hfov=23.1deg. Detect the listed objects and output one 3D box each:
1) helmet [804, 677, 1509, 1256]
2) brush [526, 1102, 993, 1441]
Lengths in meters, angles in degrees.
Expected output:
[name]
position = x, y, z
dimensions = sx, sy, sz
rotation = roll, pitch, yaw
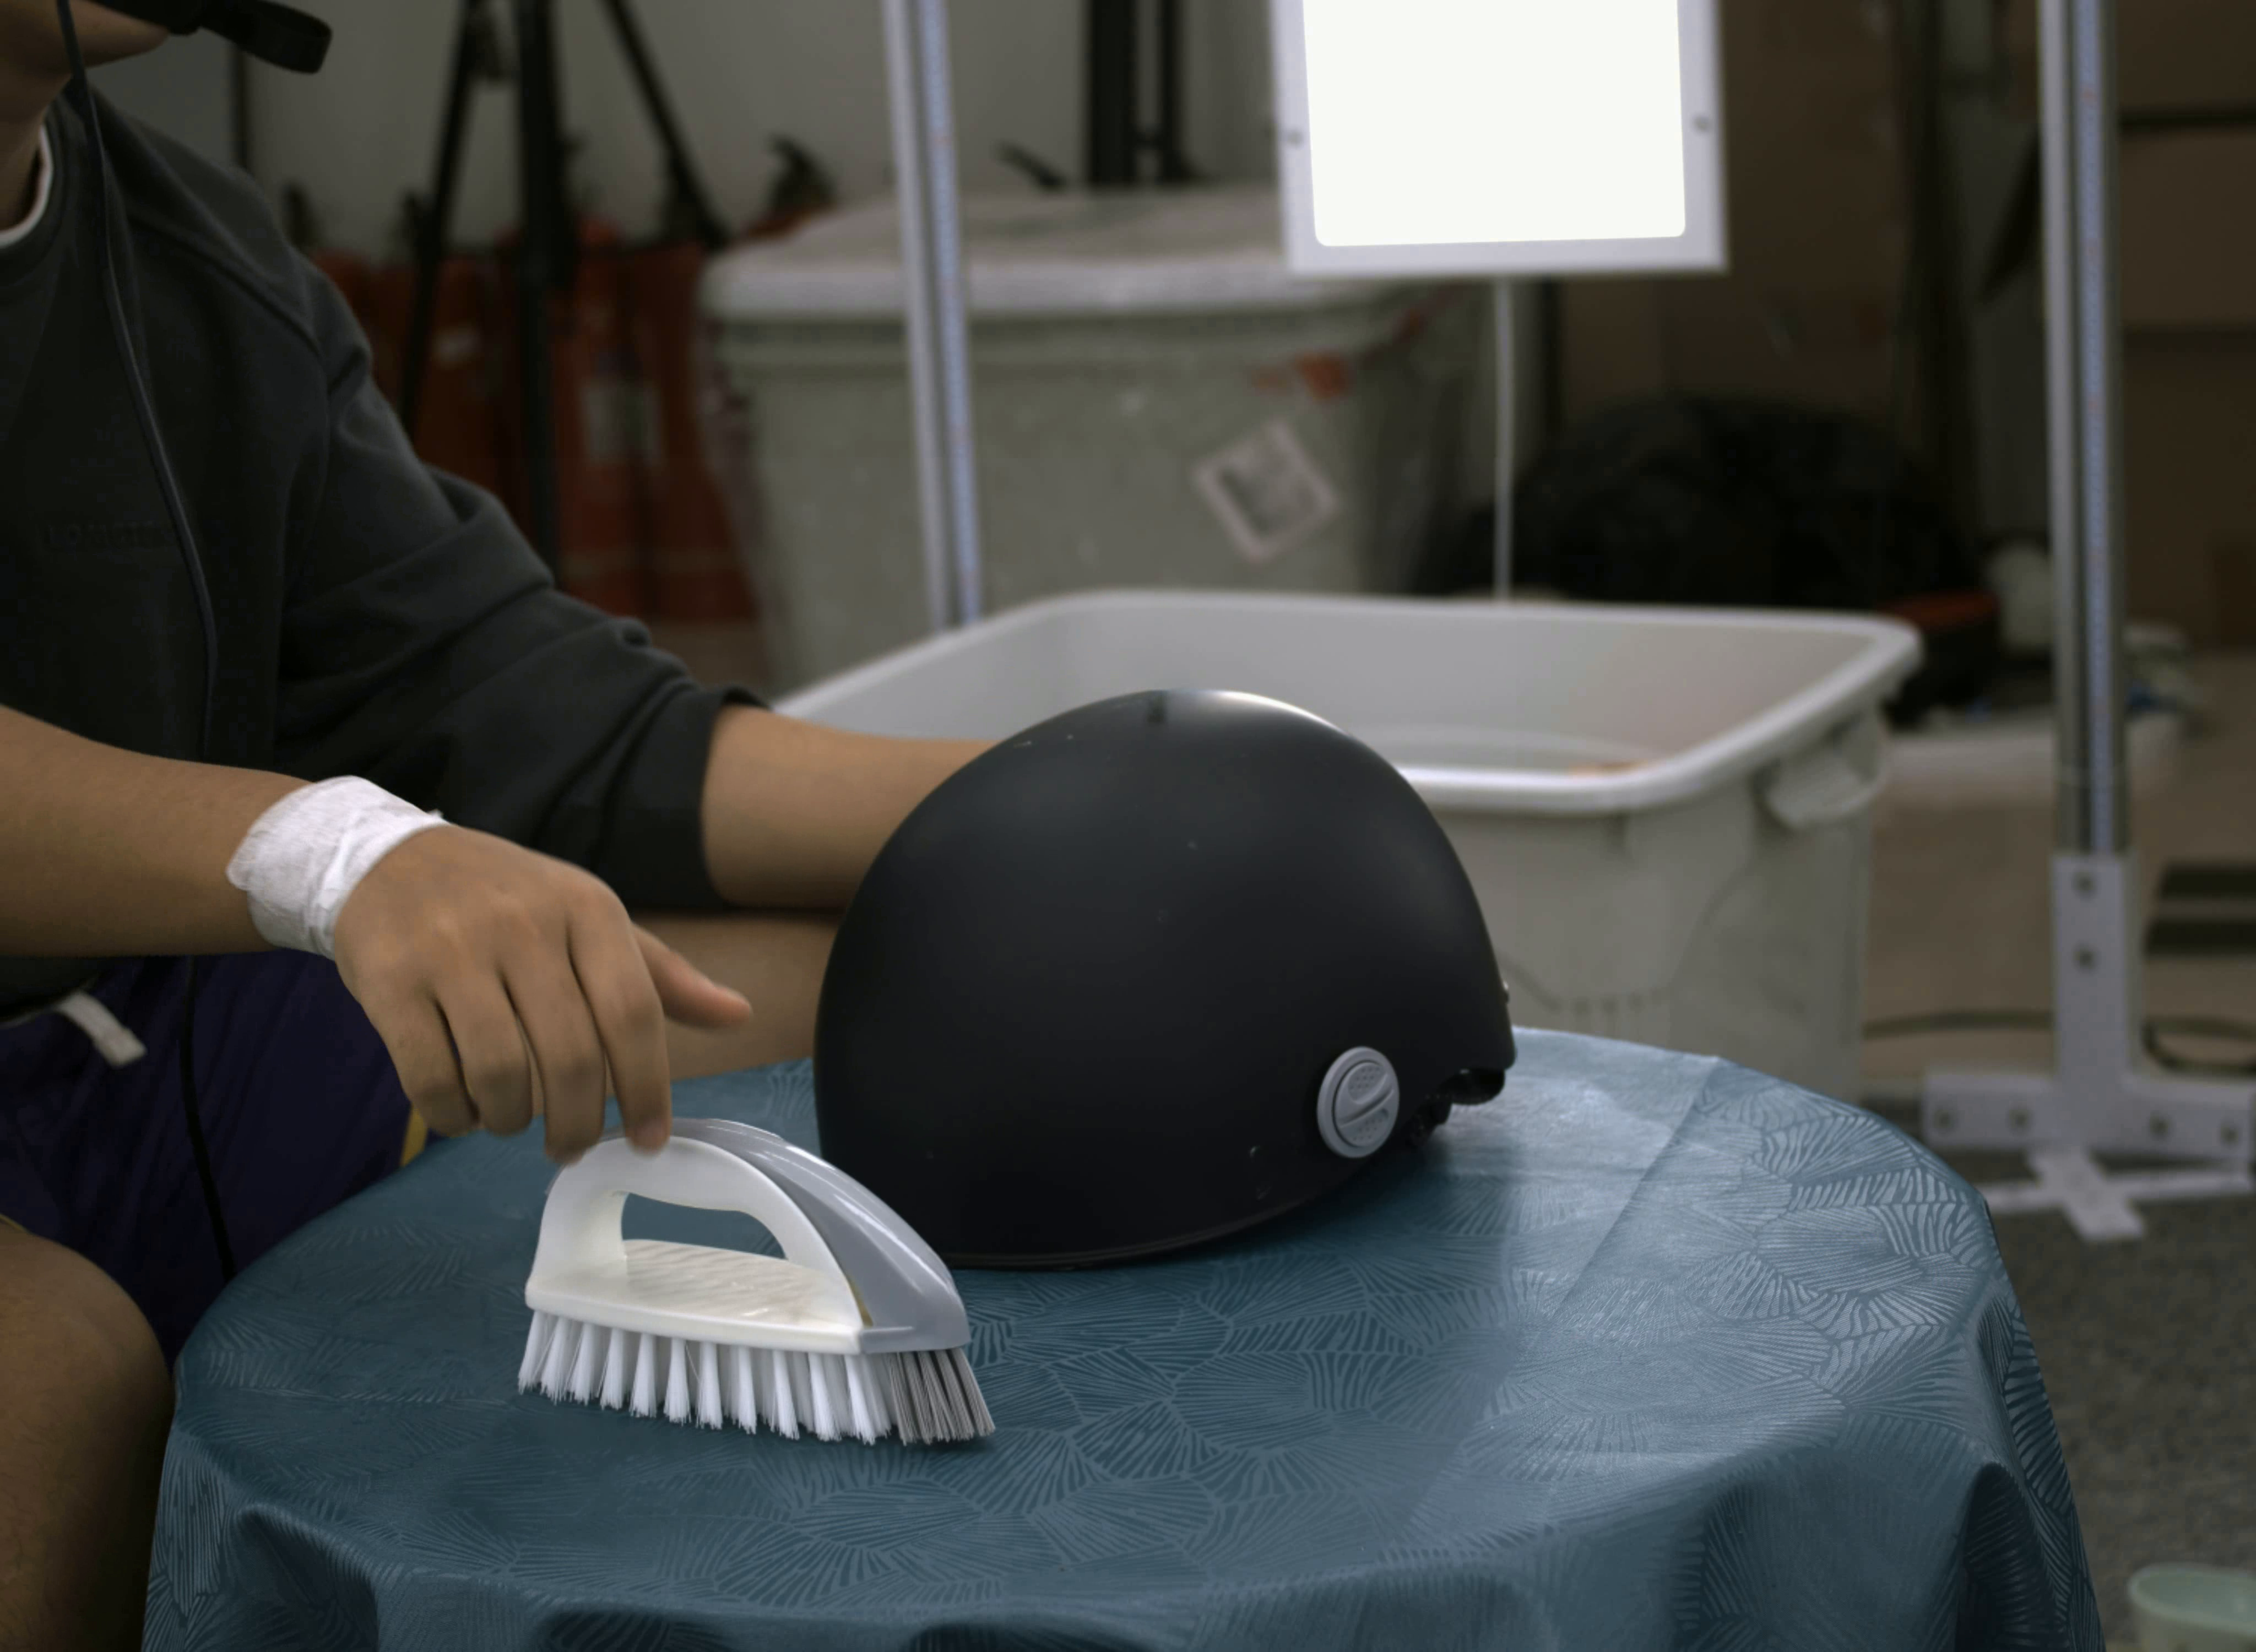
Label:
[helmet]
position = 0.004, 0.038, 1.920
dimensions = 0.235, 0.167, 0.266
rotation = 6, 19, 38
[brush]
position = -0.114, 0.135, 1.709
dimensions = 0.179, 0.094, 0.060
rotation = 9, 21, 39
